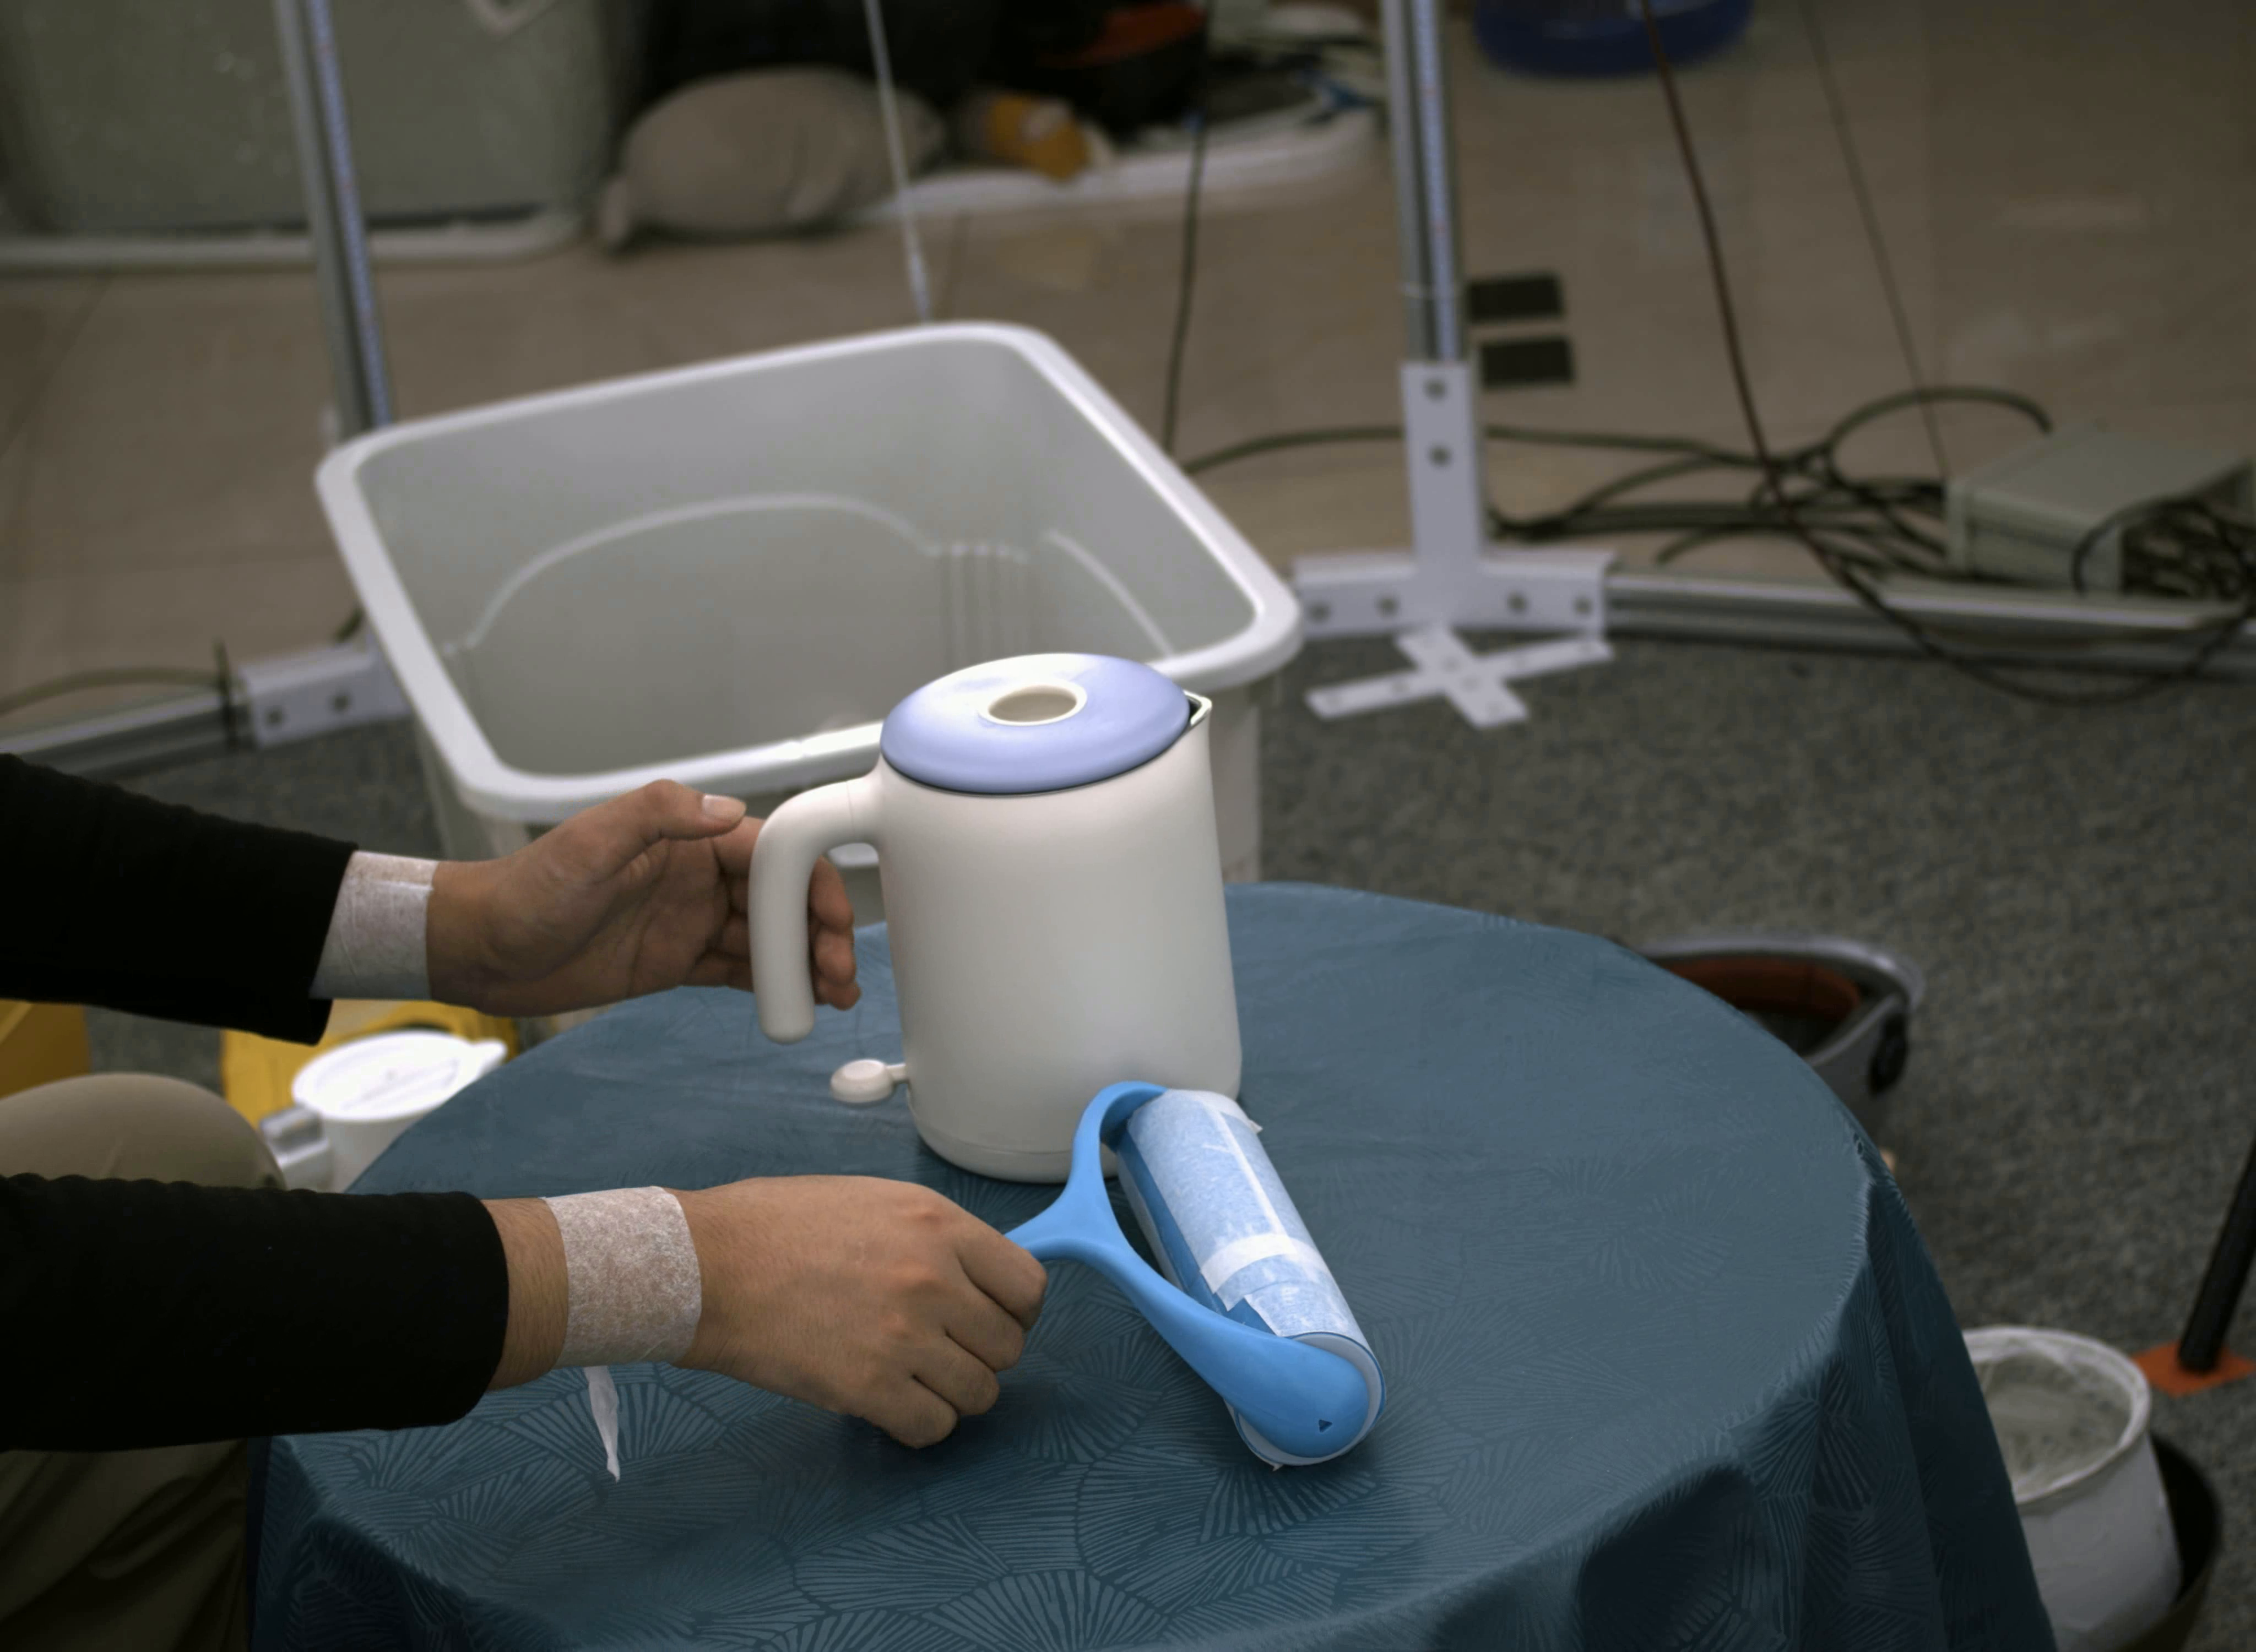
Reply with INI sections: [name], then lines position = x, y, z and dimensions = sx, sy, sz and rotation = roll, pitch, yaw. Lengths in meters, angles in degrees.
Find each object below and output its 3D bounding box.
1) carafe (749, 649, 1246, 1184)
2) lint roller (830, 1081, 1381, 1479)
[carafe]
position = -0.051, 0.039, 2.170
dimensions = 0.190, 0.185, 0.130
rotation = -11, 25, -5
[lint roller]
position = -0.017, 0.166, 2.020
dimensions = 0.180, 0.069, 0.225
rotation = -5, 28, -13
